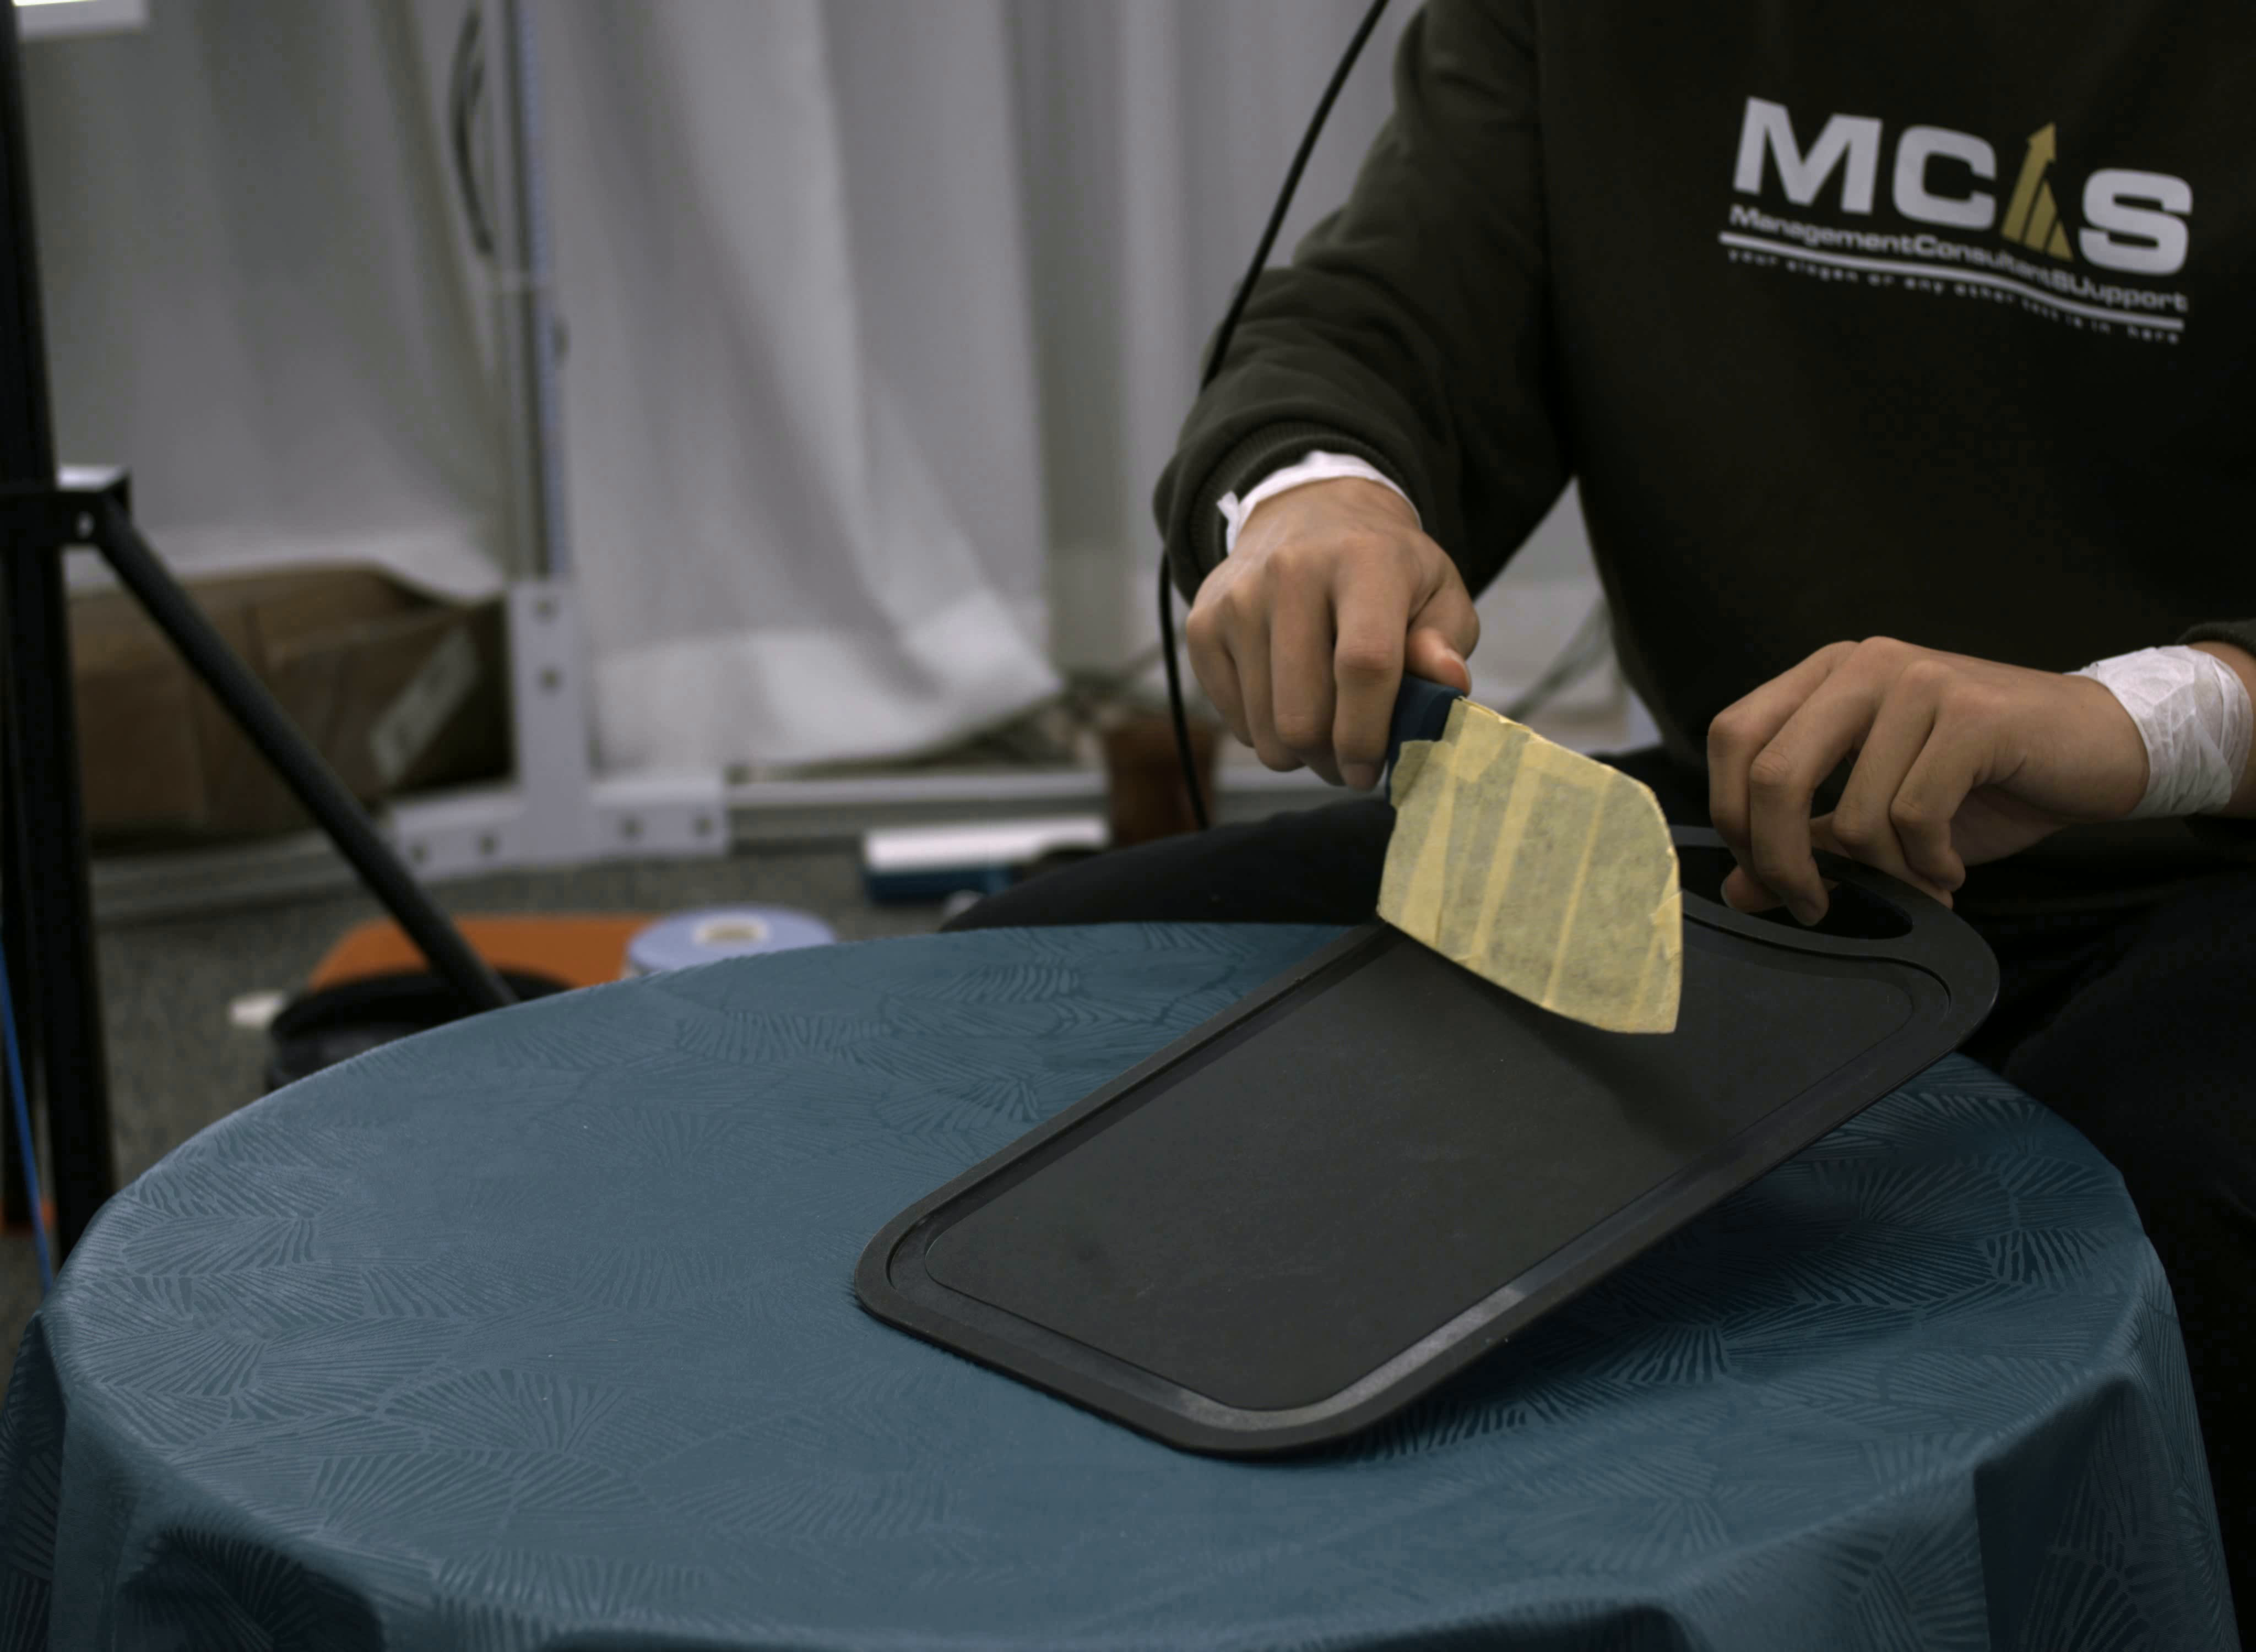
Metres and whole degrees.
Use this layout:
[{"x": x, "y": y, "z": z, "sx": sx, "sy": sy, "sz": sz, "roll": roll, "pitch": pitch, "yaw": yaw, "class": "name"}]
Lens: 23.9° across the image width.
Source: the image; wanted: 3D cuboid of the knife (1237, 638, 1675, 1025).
[{"x": 0.094, "y": -0.002, "z": 1.586, "sx": 0.026, "sy": 0.081, "sz": 0.295, "roll": 15, "pitch": 10, "yaw": -26, "class": "knife"}]

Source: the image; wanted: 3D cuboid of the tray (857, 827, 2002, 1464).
[{"x": 0.091, "y": 0.078, "z": 1.496, "sx": 0.320, "sy": 0.010, "sz": 0.216, "roll": -30, "pitch": 29, "yaw": -29, "class": "tray"}]
